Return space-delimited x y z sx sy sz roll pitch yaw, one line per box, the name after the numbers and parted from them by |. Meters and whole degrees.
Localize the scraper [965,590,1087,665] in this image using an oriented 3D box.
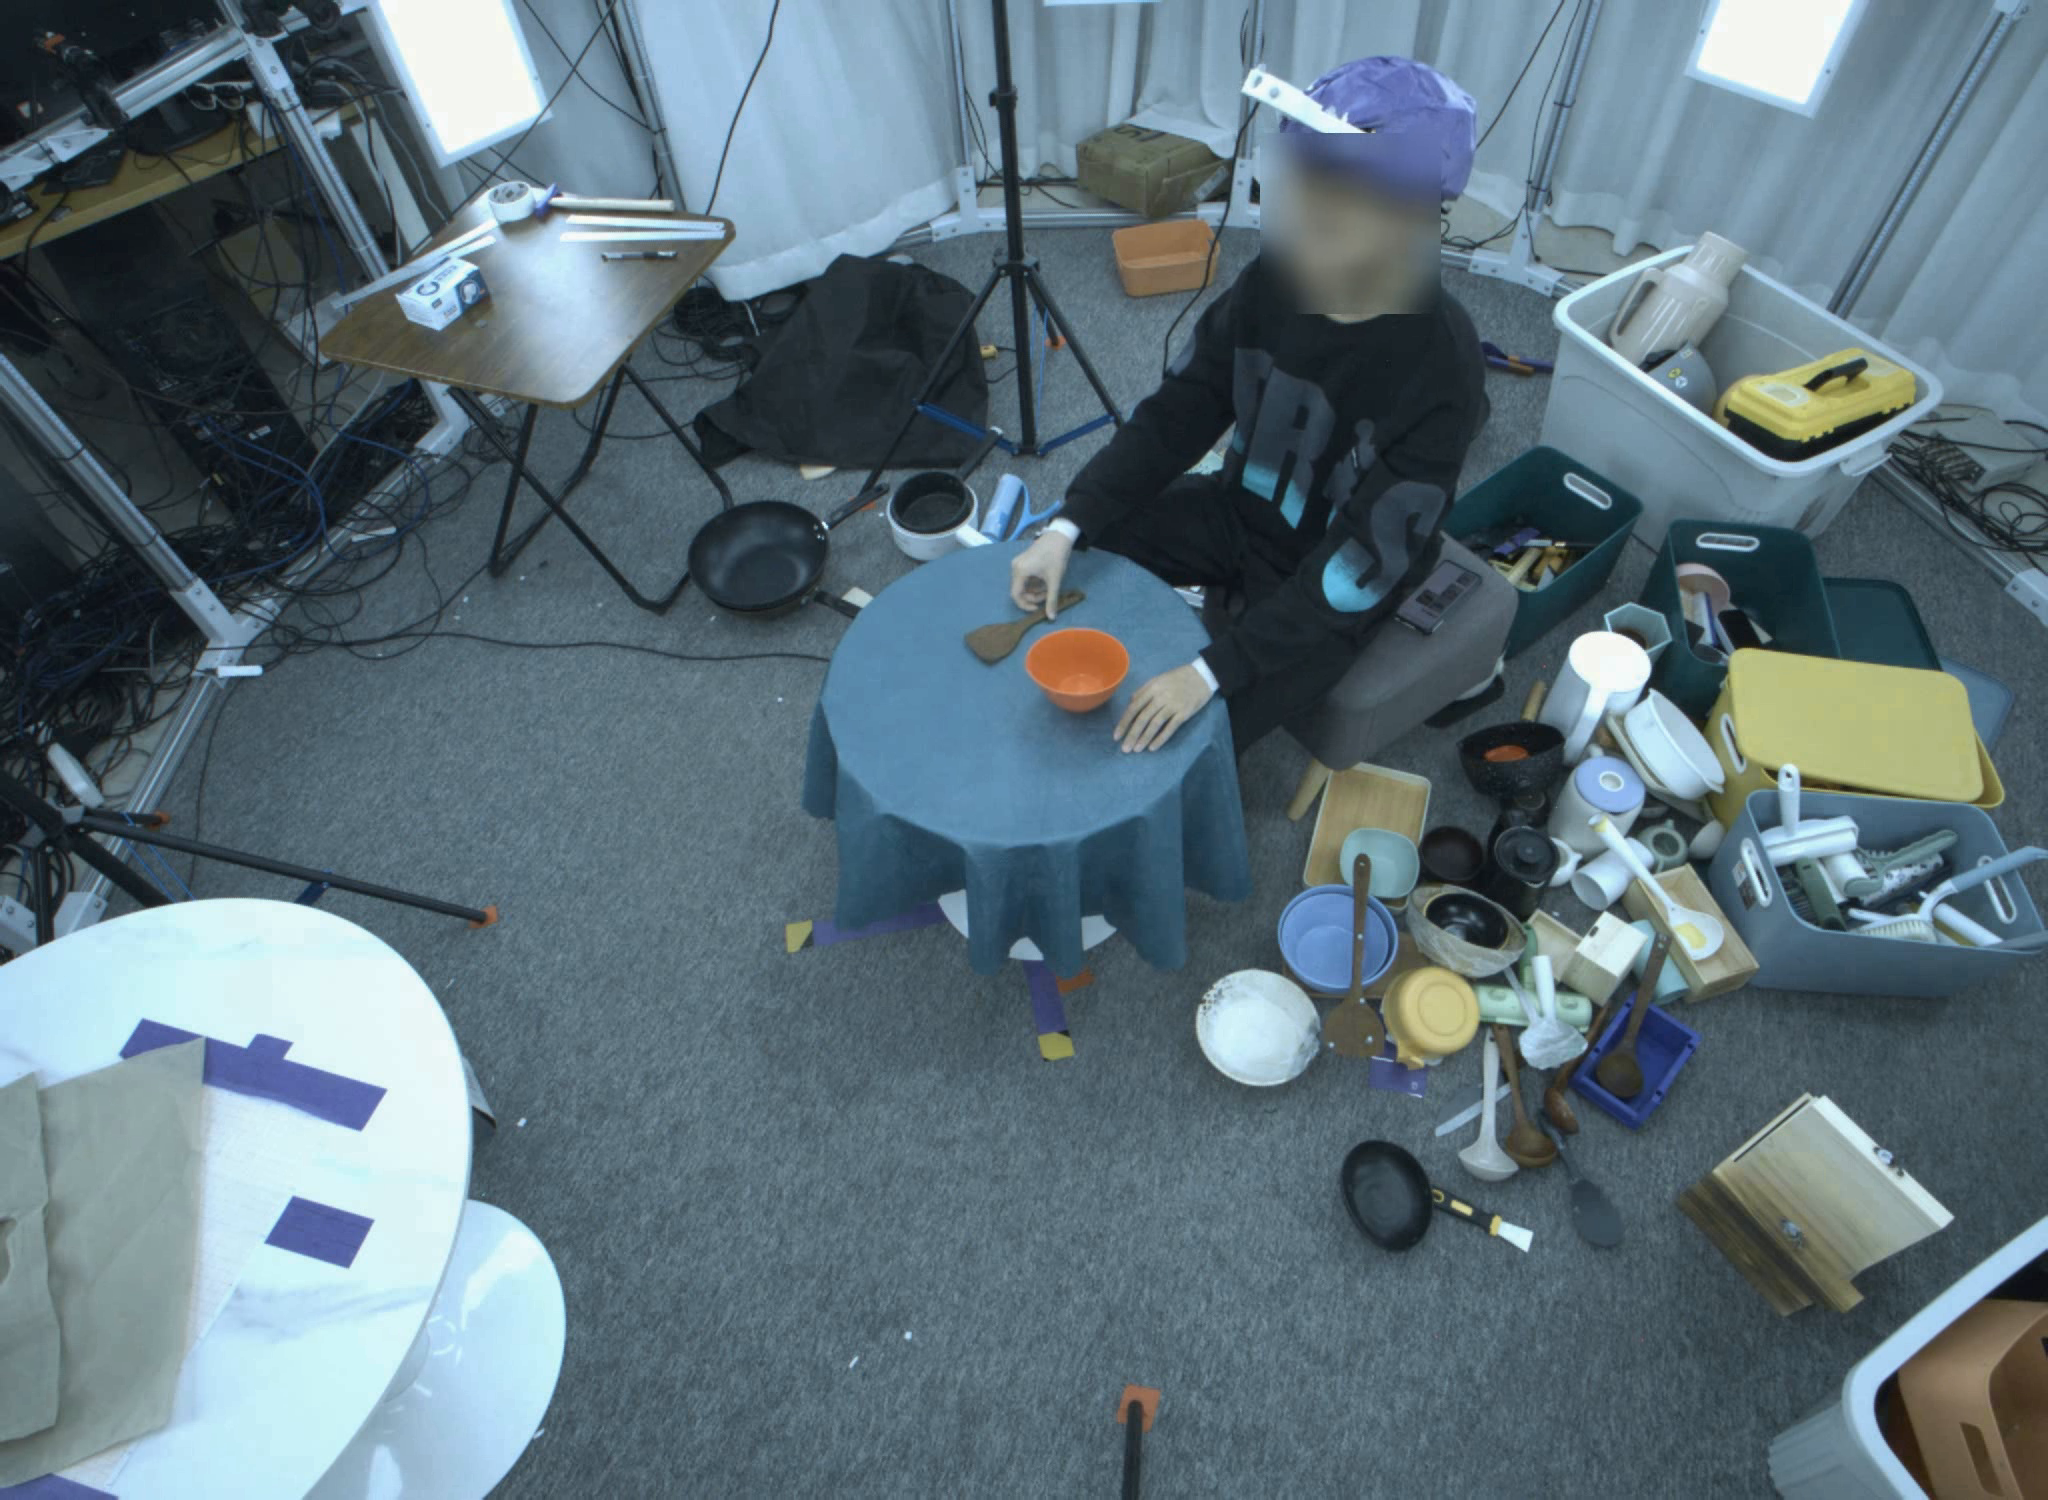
0.009 -0.199 1.932 0.213 0.011 0.074 -31 61 -19 | scraper

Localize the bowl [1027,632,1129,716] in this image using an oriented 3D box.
0.081 -0.099 1.803 0.148 0.106 0.146 -1 53 3 | bowl
